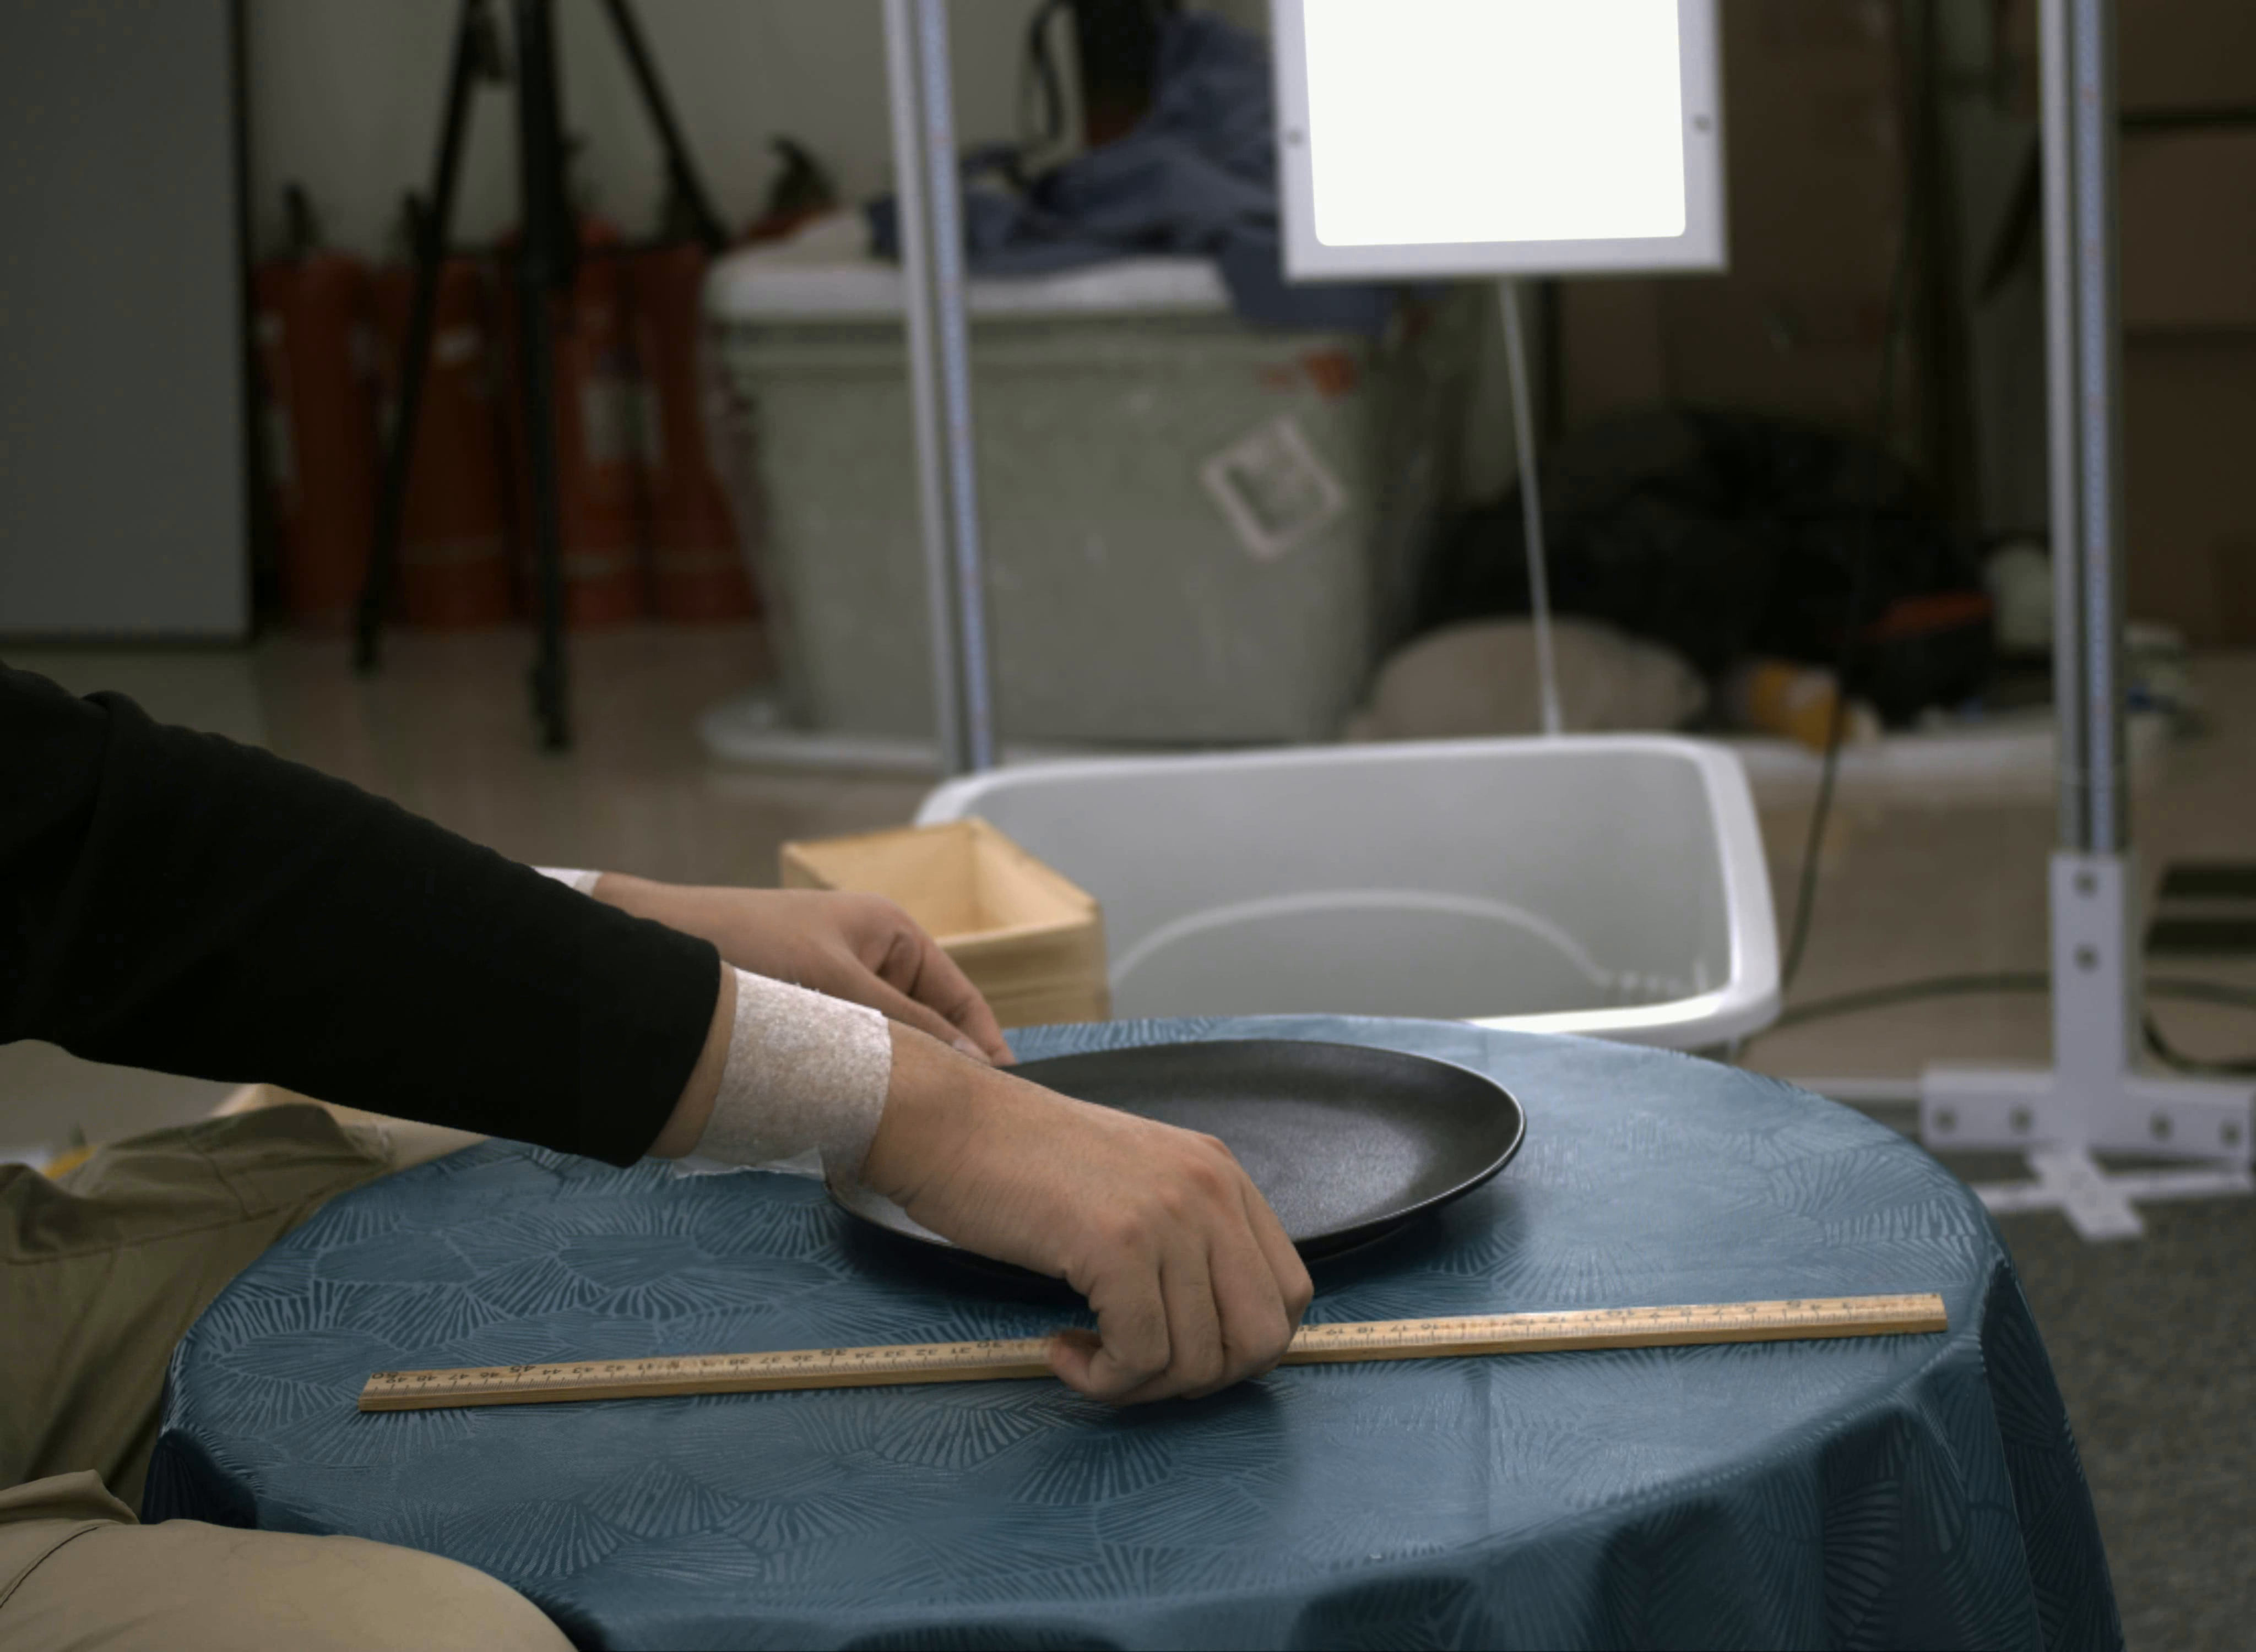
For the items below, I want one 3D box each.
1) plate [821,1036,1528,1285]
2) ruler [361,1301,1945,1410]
[{"bbox_3d":[0.016,0.117,1.882,0.244,0.023,0.244,-5,14,0],"label":"plate"},{"bbox_3d":[0.006,0.166,1.727,0.502,0.006,0.026,-3,9,8],"label":"ruler"}]
